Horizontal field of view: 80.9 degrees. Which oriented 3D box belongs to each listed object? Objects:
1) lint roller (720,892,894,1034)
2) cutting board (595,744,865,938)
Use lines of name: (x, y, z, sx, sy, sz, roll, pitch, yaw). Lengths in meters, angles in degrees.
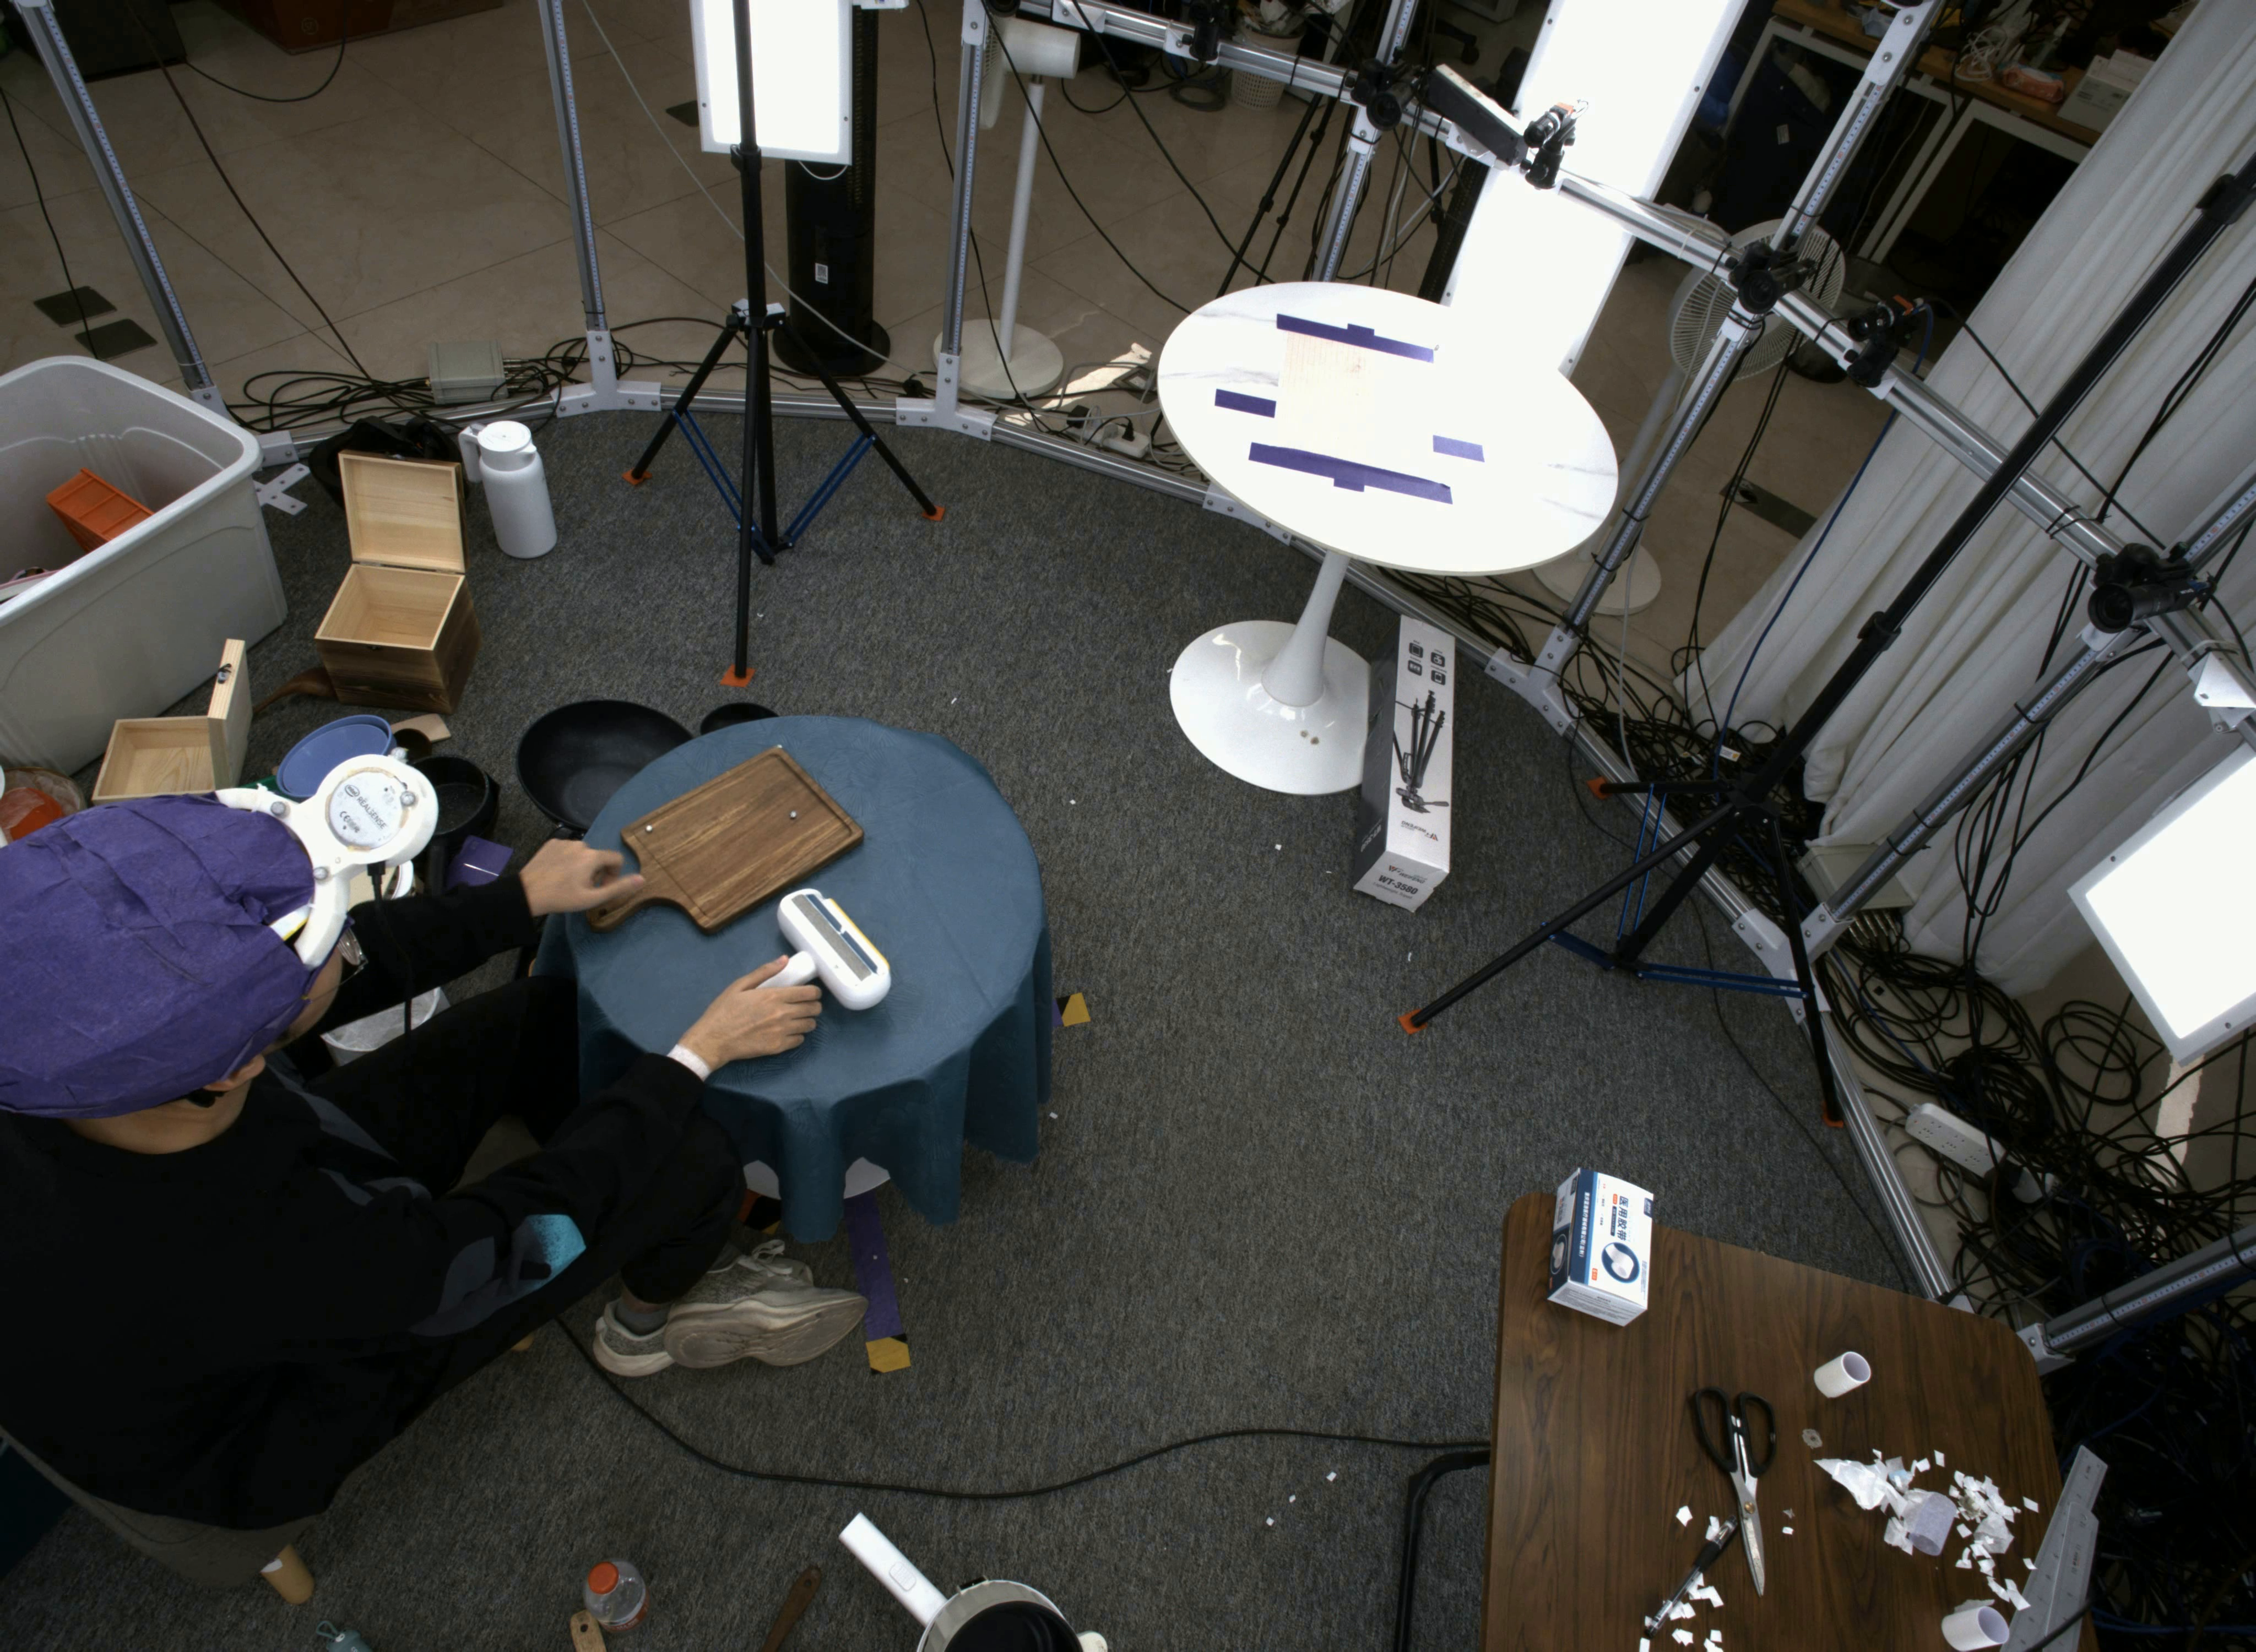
lint roller: (-0.402, 0.180, 1.559, 0.193, 0.076, 0.187, -26, 58, -27)
cutting board: (-0.534, 0.036, 1.661, 0.197, 0.023, 0.353, 43, 56, 17)
